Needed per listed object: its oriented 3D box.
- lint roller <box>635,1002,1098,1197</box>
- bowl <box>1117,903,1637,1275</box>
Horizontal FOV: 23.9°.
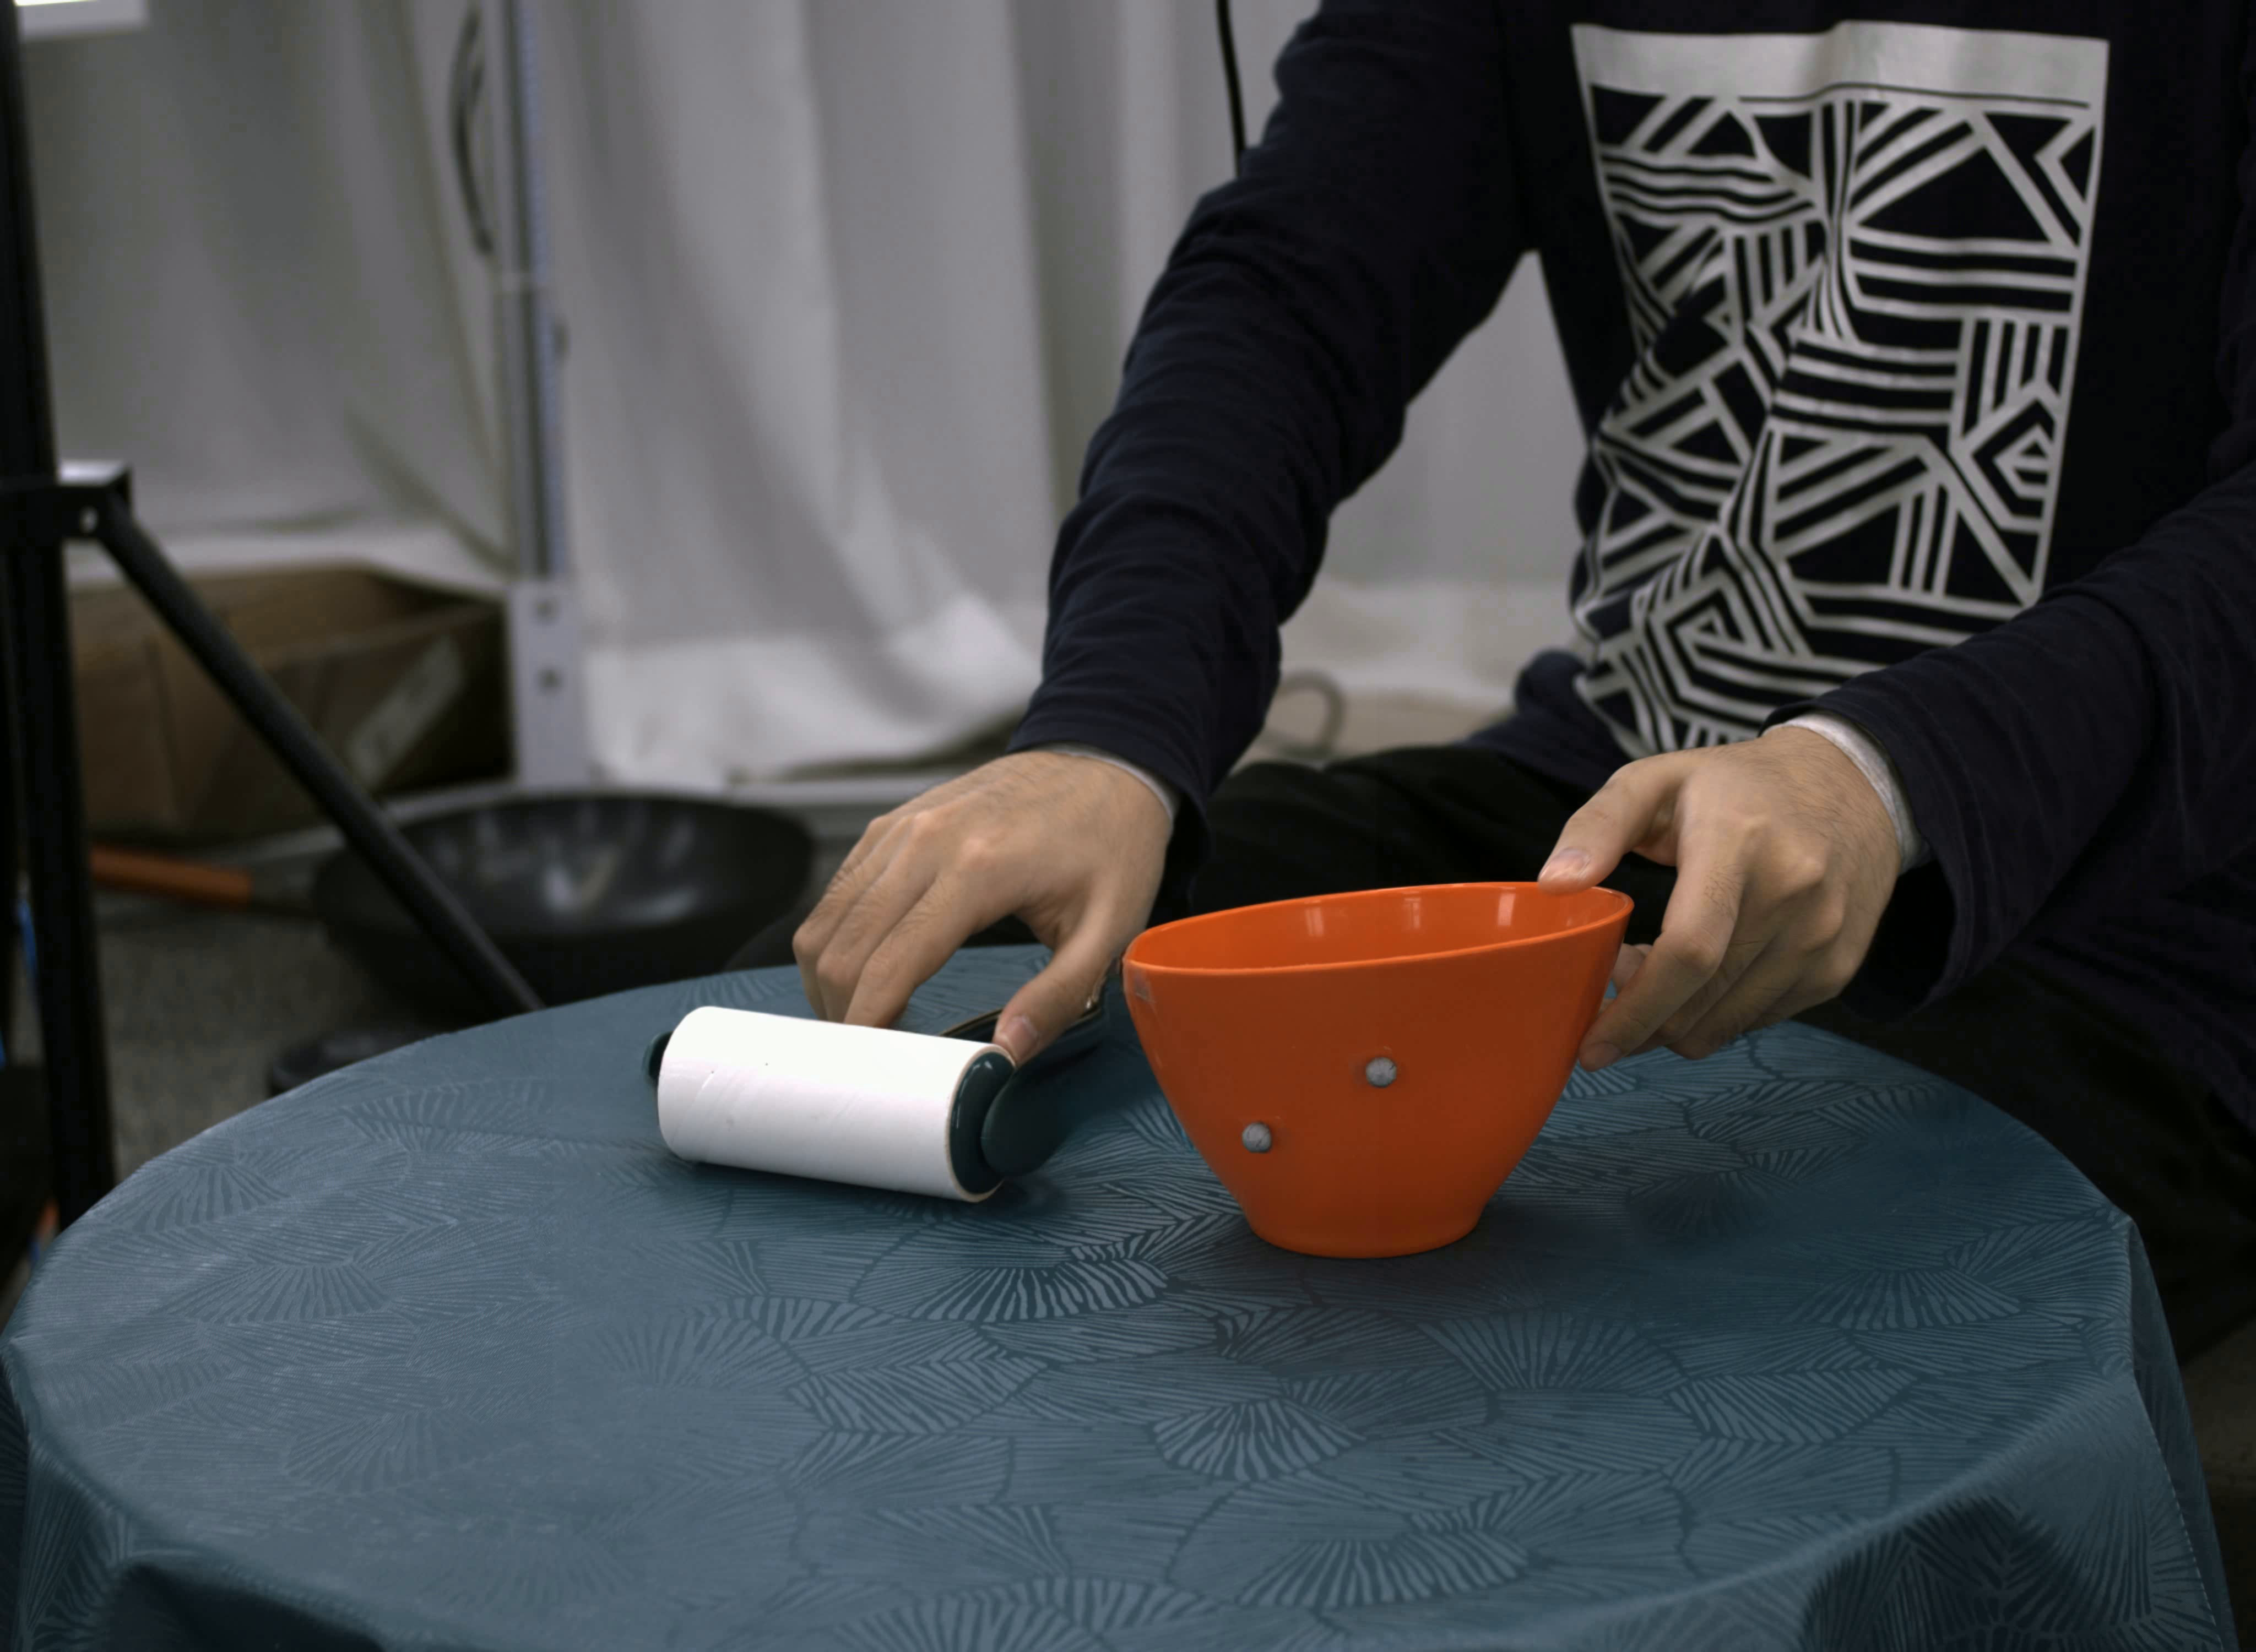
[{"bbox_3d":[-0.056,0.068,1.638,0.136,0.048,0.177,6,14,28],"label":"lint roller"},{"bbox_3d":[0.070,0.072,1.509,0.147,0.105,0.149,-1,14,-1],"label":"bowl"}]
